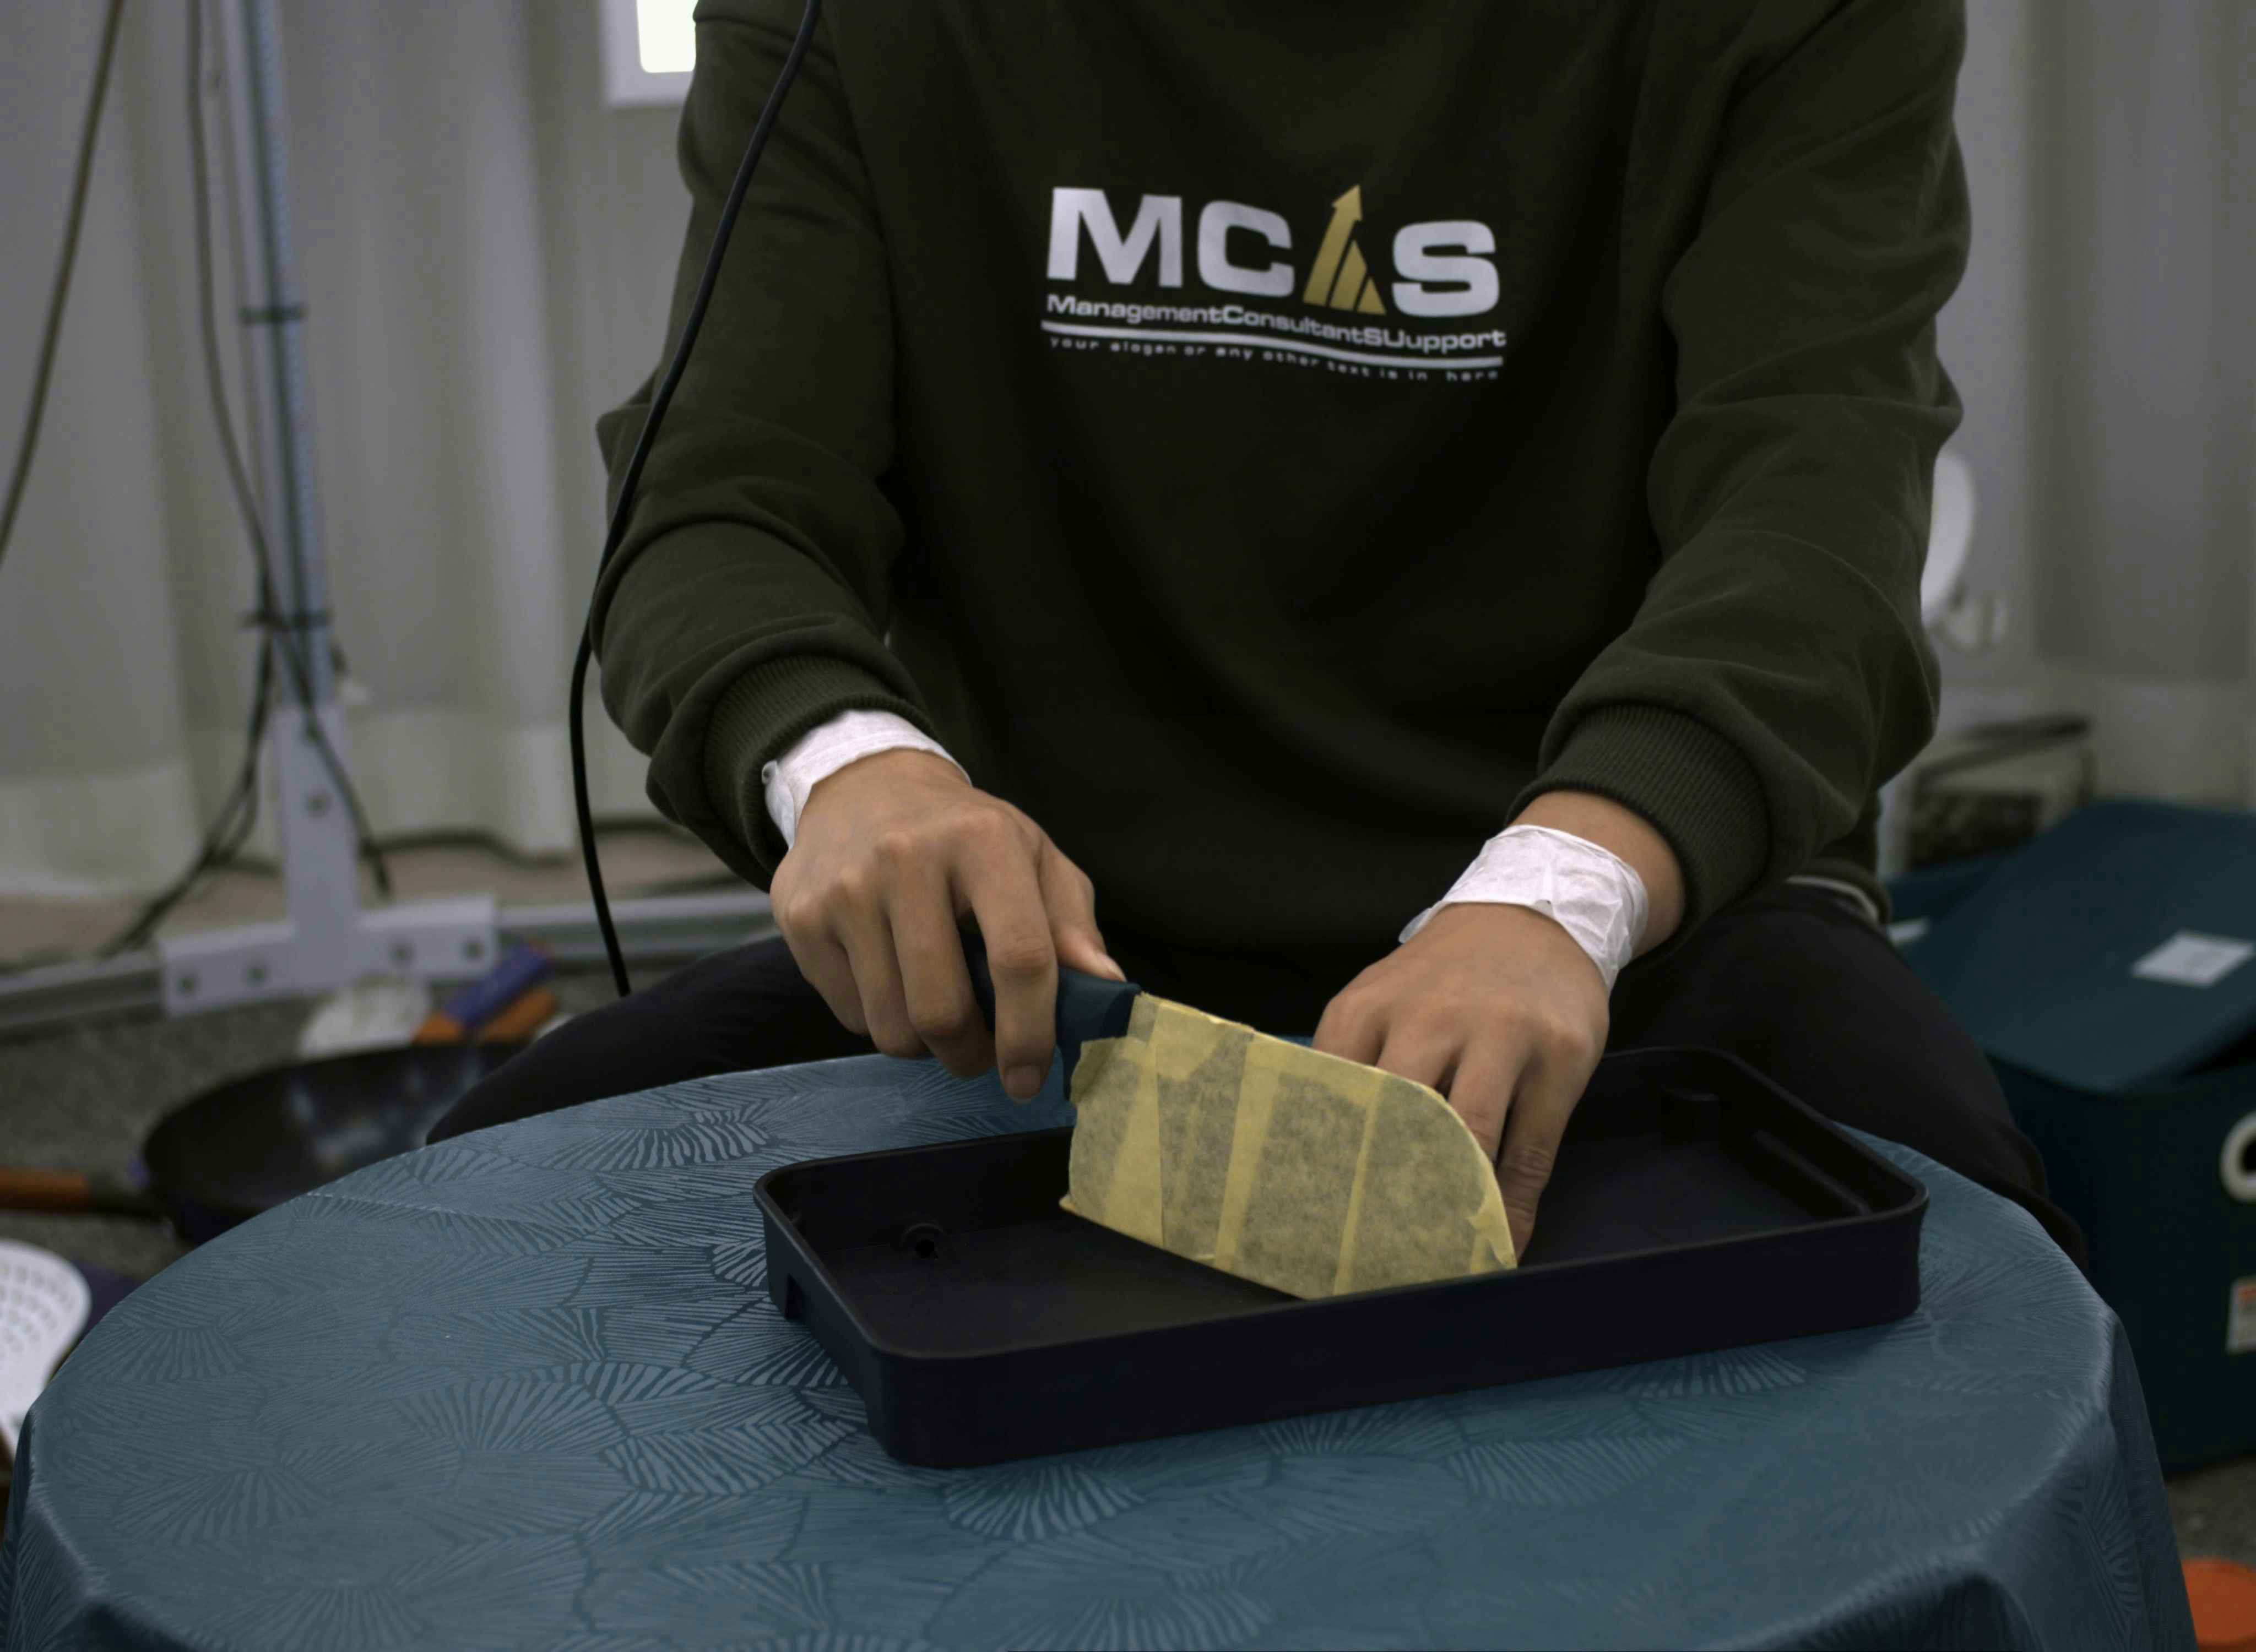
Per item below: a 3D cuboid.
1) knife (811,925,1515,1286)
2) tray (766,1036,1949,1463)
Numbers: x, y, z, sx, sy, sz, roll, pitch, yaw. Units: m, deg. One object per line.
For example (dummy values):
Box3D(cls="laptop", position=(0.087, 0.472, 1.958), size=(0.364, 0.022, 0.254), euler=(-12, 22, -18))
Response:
Box3D(cls="knife", position=(0.006, 0.086, 1.636), size=(0.291, 0.081, 0.027), euler=(20, 10, 41))
Box3D(cls="tray", position=(0.065, 0.120, 1.610), size=(0.316, 0.037, 0.186), euler=(-7, 15, -17))
